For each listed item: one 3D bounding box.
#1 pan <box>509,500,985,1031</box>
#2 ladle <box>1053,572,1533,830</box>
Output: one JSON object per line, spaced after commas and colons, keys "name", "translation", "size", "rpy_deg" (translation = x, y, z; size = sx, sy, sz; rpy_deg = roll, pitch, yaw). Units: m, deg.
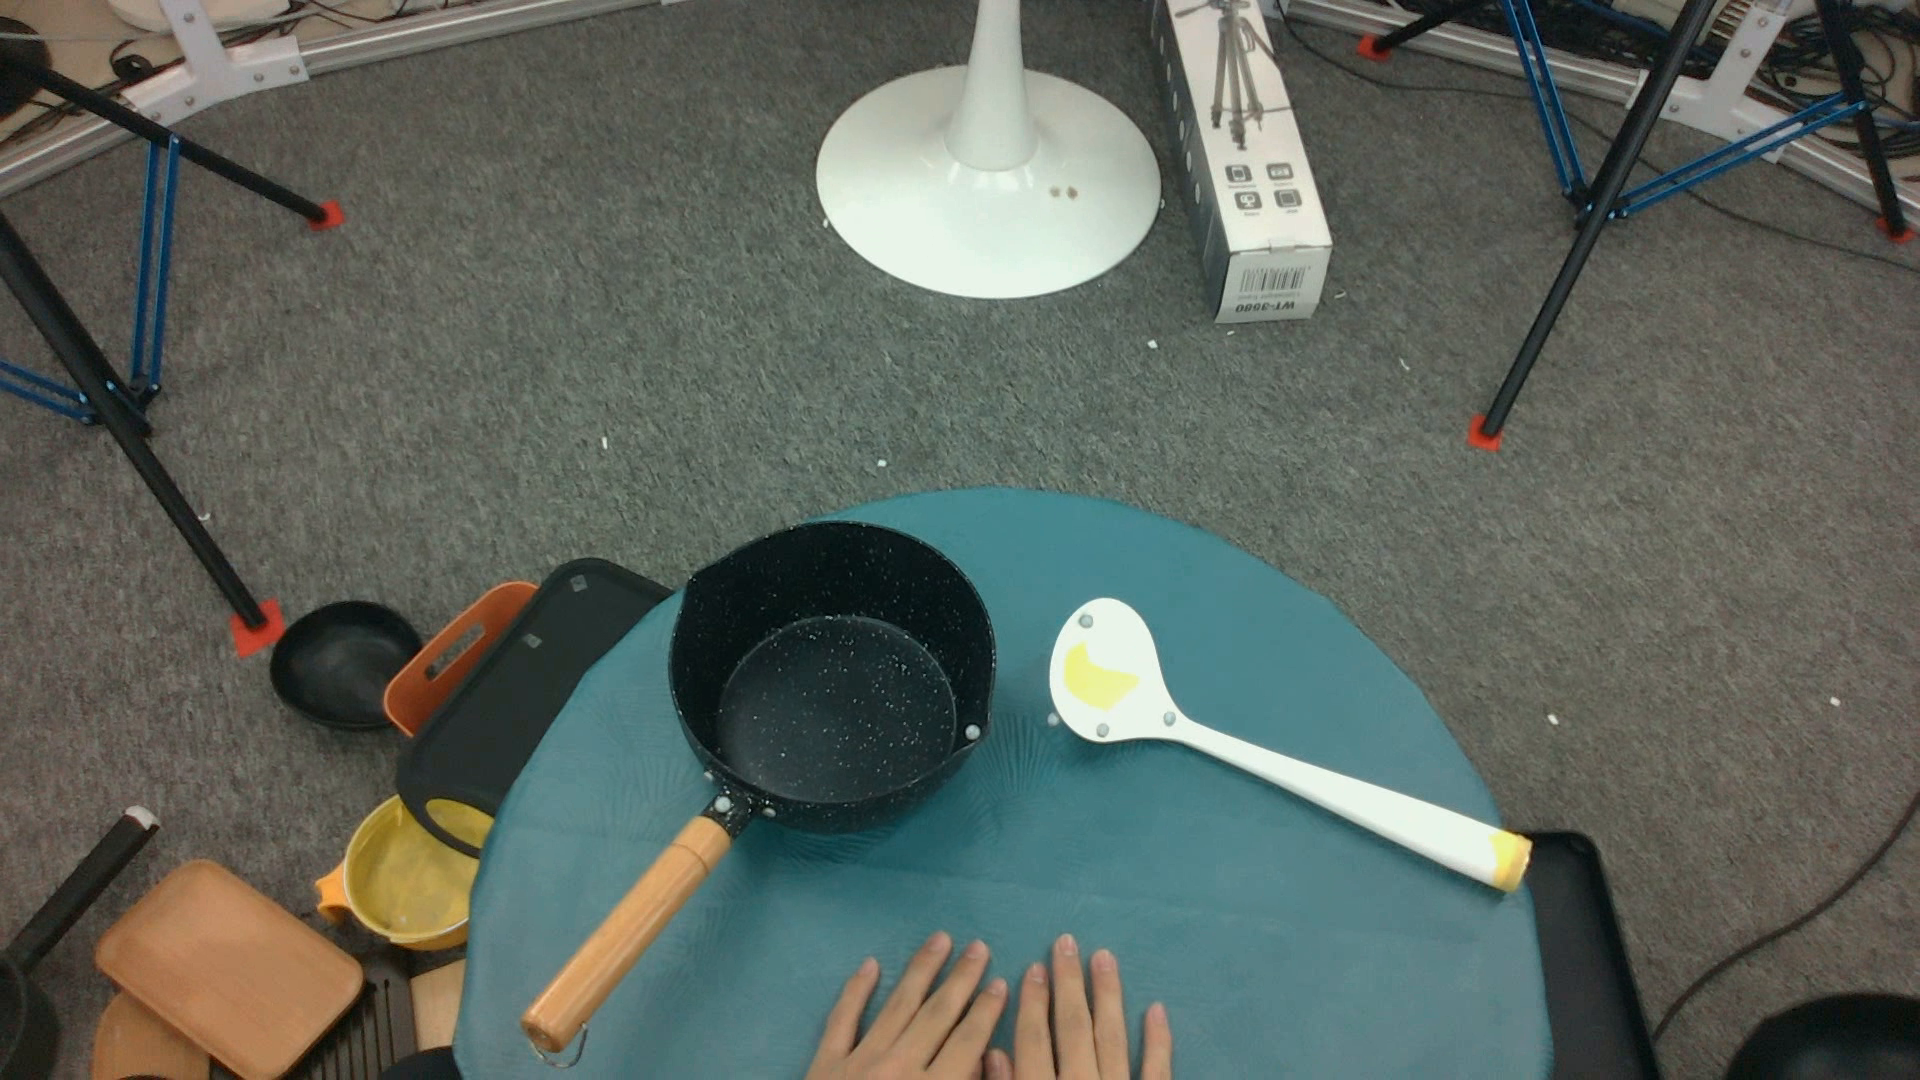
{"name": "pan", "translation": [-0.117, 0.127, 0.754], "size": [0.207, 0.107, 0.344], "rpy_deg": [25, 56, 12]}
{"name": "ladle", "translation": [0.196, 0.103, 0.818], "size": [0.293, 0.070, 0.090], "rpy_deg": [19, 71, 10]}
